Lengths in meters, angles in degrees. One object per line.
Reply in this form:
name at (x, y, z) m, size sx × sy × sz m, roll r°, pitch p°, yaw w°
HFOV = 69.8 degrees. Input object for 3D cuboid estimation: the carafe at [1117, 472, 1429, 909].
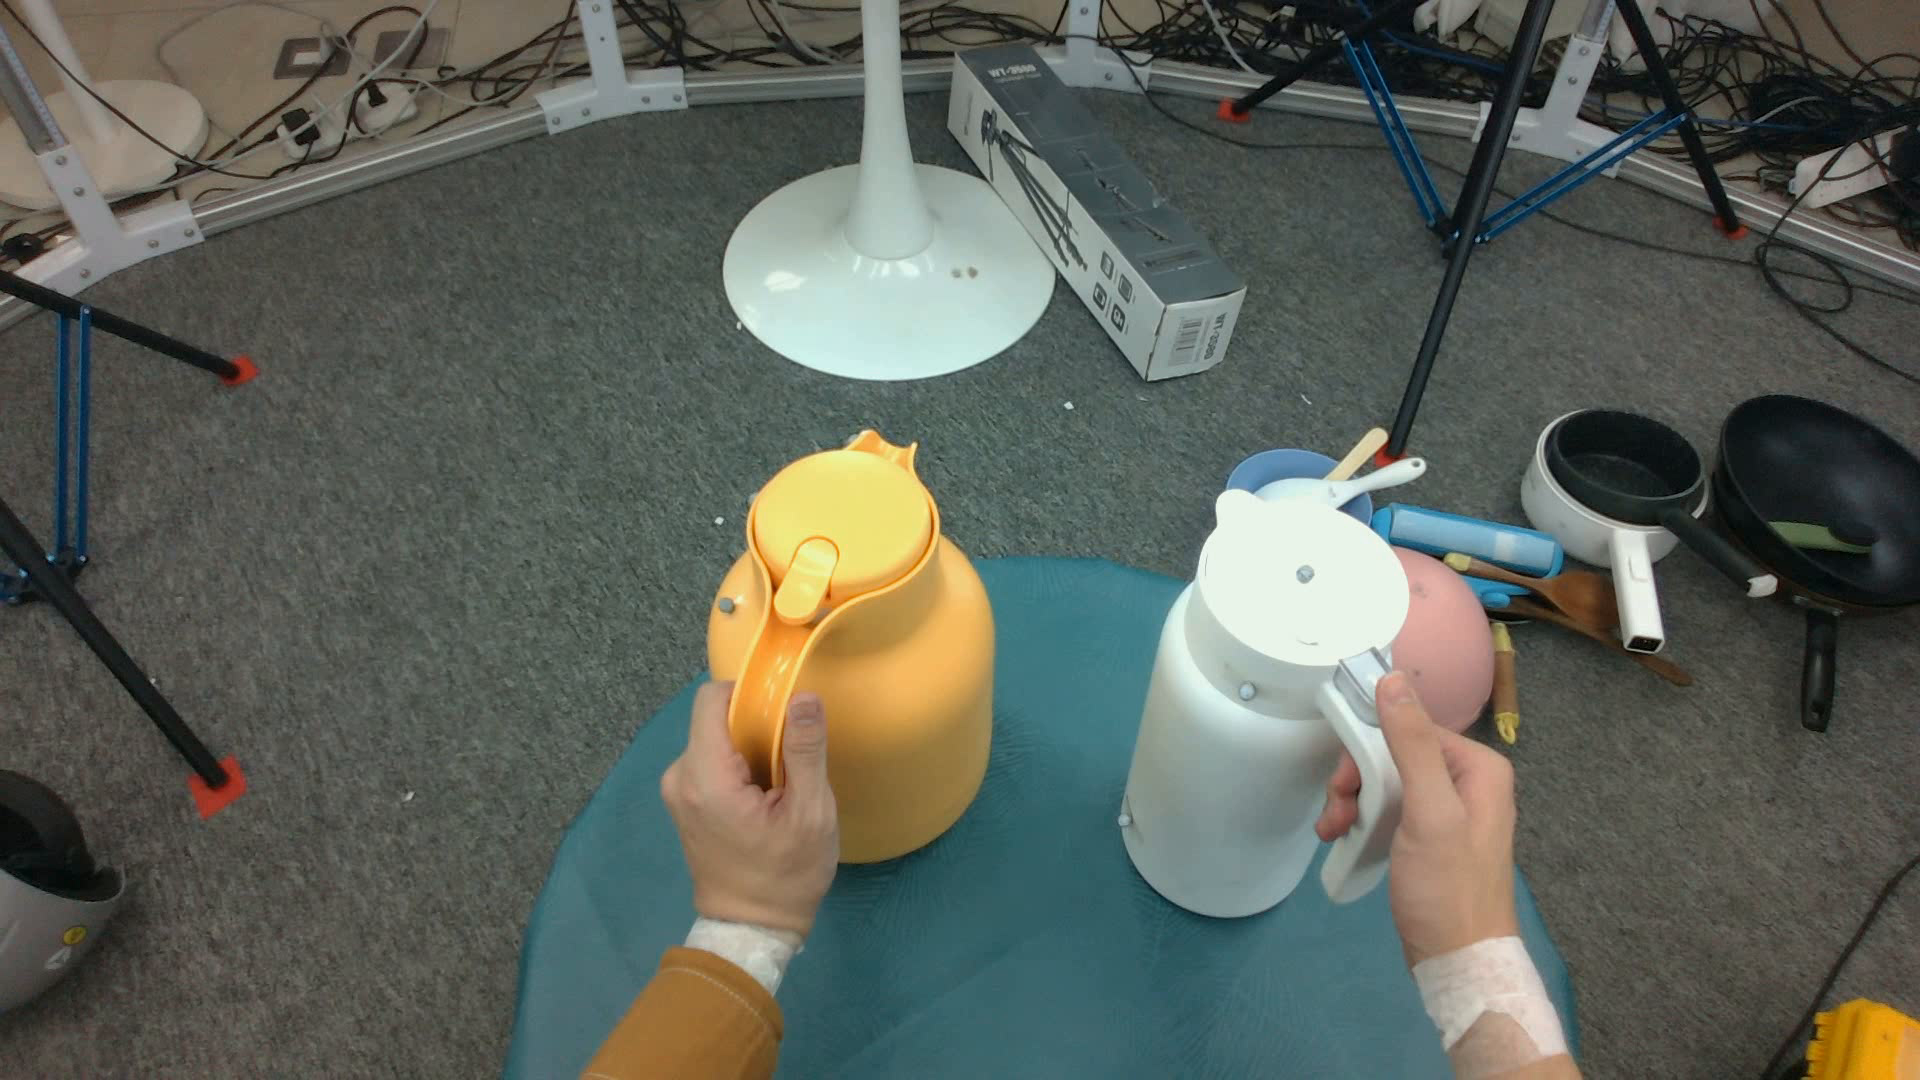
carafe at (0.166, 0.107, 0.742) m, size 0.124 × 0.267 × 0.173 m, roll -17°, pitch 54°, yaw -17°

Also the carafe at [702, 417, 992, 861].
carafe at (-0.071, 0.072, 0.764) m, size 0.163 × 0.259 × 0.203 m, roll 16°, pitch 51°, yaw 14°
